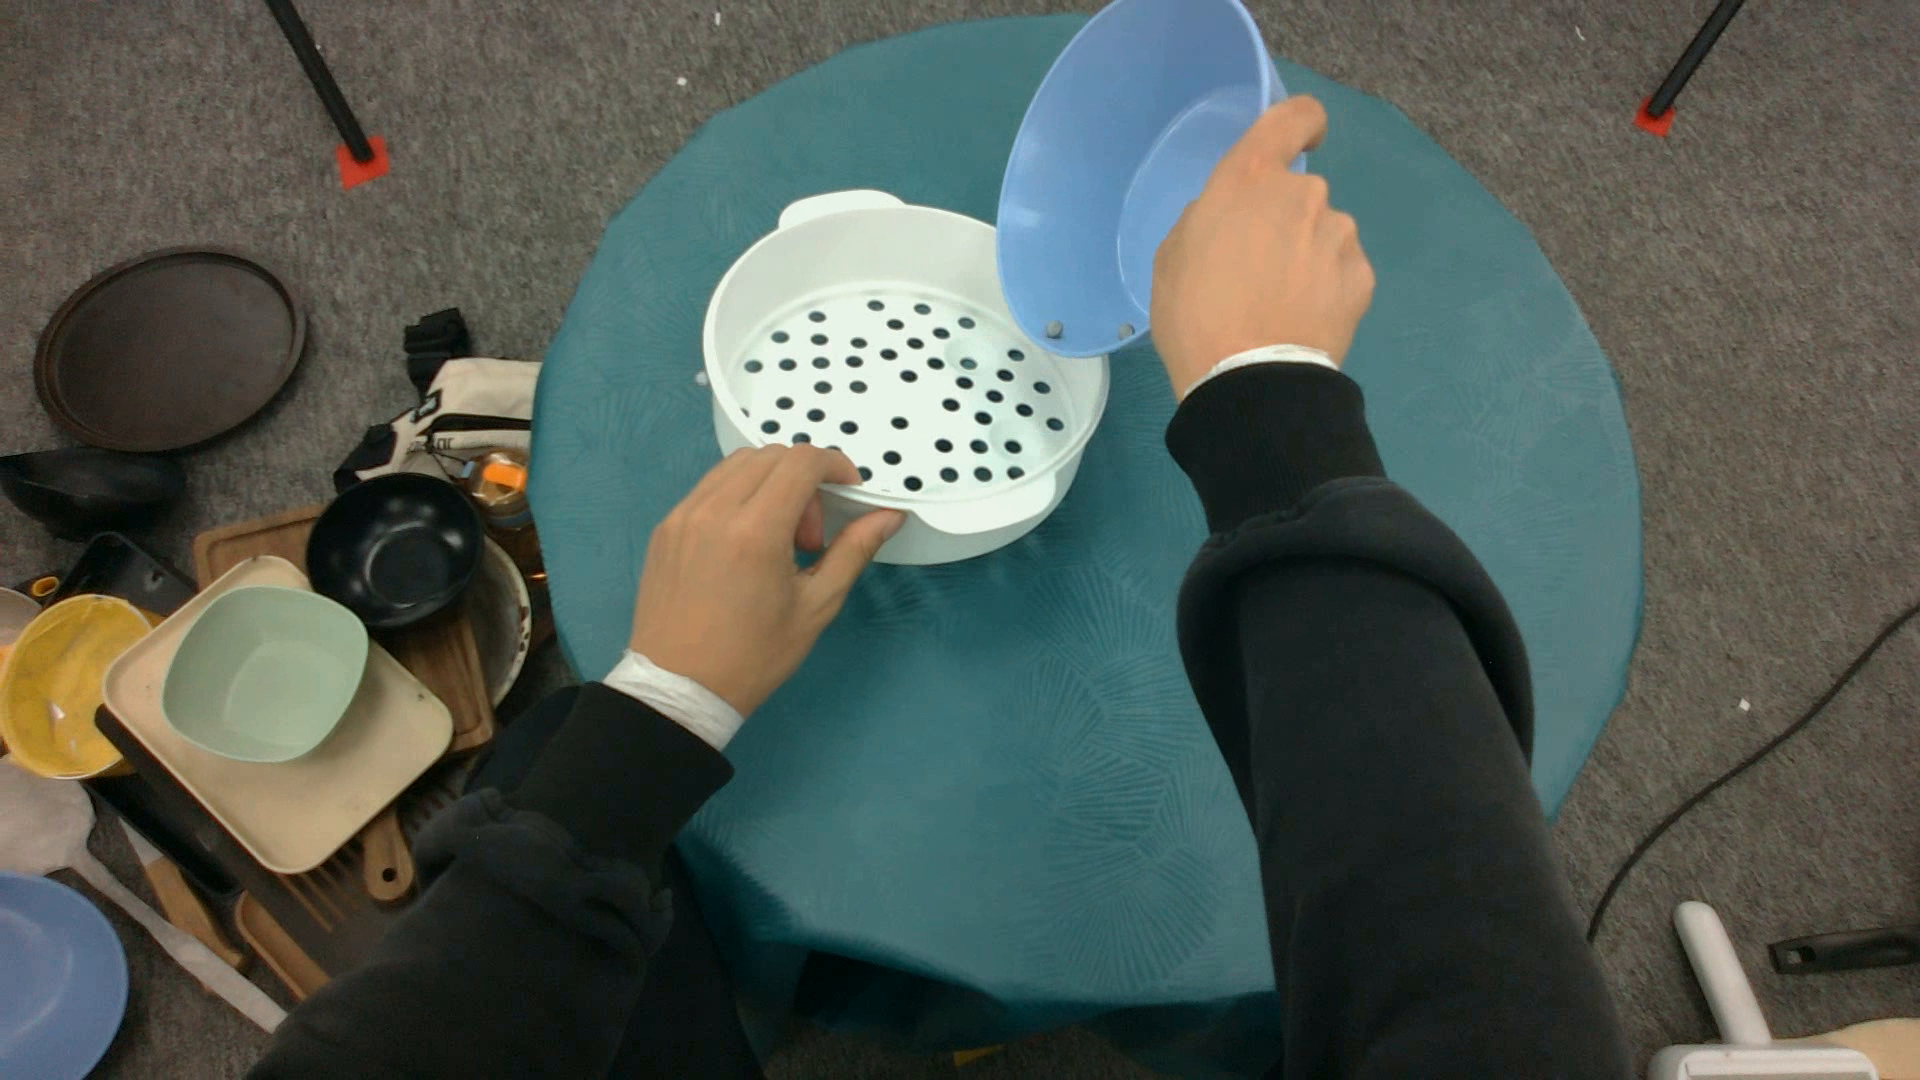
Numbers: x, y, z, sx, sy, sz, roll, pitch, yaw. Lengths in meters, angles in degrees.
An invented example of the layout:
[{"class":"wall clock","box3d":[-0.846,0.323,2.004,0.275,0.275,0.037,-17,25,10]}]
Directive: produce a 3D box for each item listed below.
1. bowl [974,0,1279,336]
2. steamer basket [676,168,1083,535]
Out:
[{"class":"bowl","box3d":[0.086,-0.177,0.659,0.070,0.175,0.176,10,59,-37]},{"class":"steamer basket","box3d":[-0.042,-0.094,0.703,0.202,0.069,0.231,-15,57,-20]}]
